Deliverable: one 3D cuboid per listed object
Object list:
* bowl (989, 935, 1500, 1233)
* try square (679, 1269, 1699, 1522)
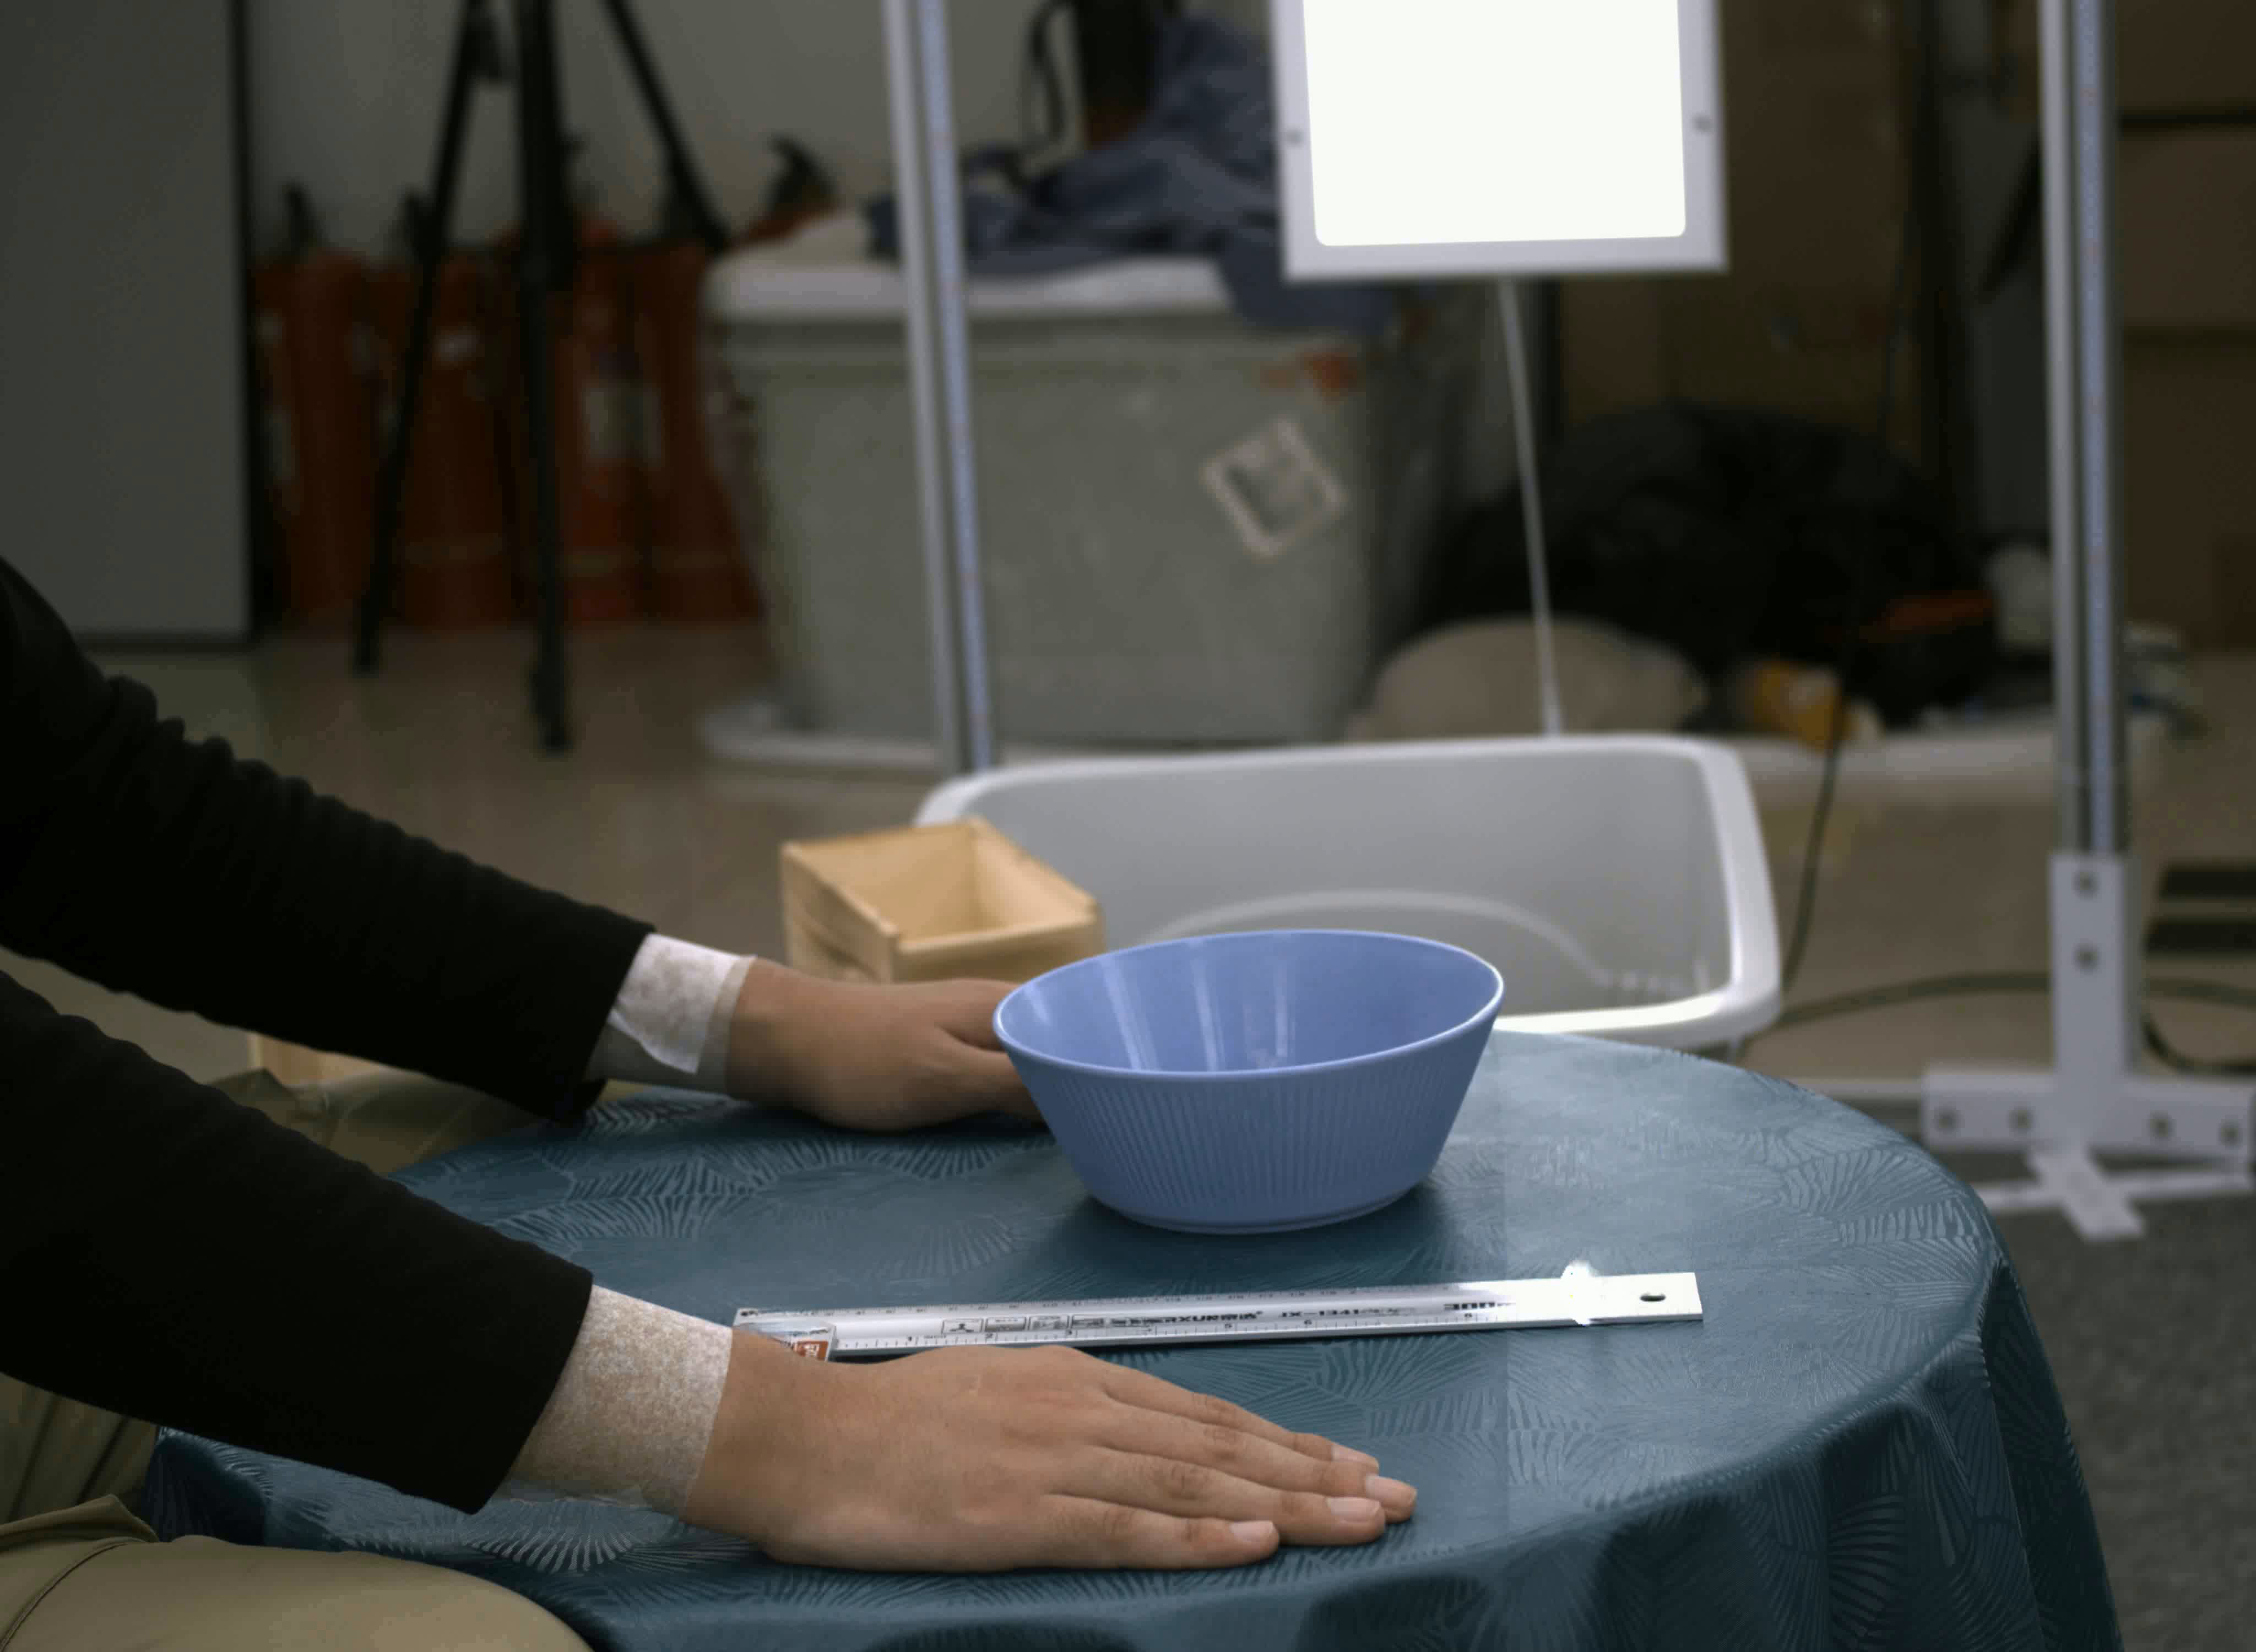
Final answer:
[{"bbox_3d":[0.042,0.090,1.884,0.175,0.070,0.176,-5,14,0],"label":"bowl"},{"bbox_3d":[0.023,0.172,1.701,0.313,0.016,0.151,-3,18,5],"label":"try square"}]
